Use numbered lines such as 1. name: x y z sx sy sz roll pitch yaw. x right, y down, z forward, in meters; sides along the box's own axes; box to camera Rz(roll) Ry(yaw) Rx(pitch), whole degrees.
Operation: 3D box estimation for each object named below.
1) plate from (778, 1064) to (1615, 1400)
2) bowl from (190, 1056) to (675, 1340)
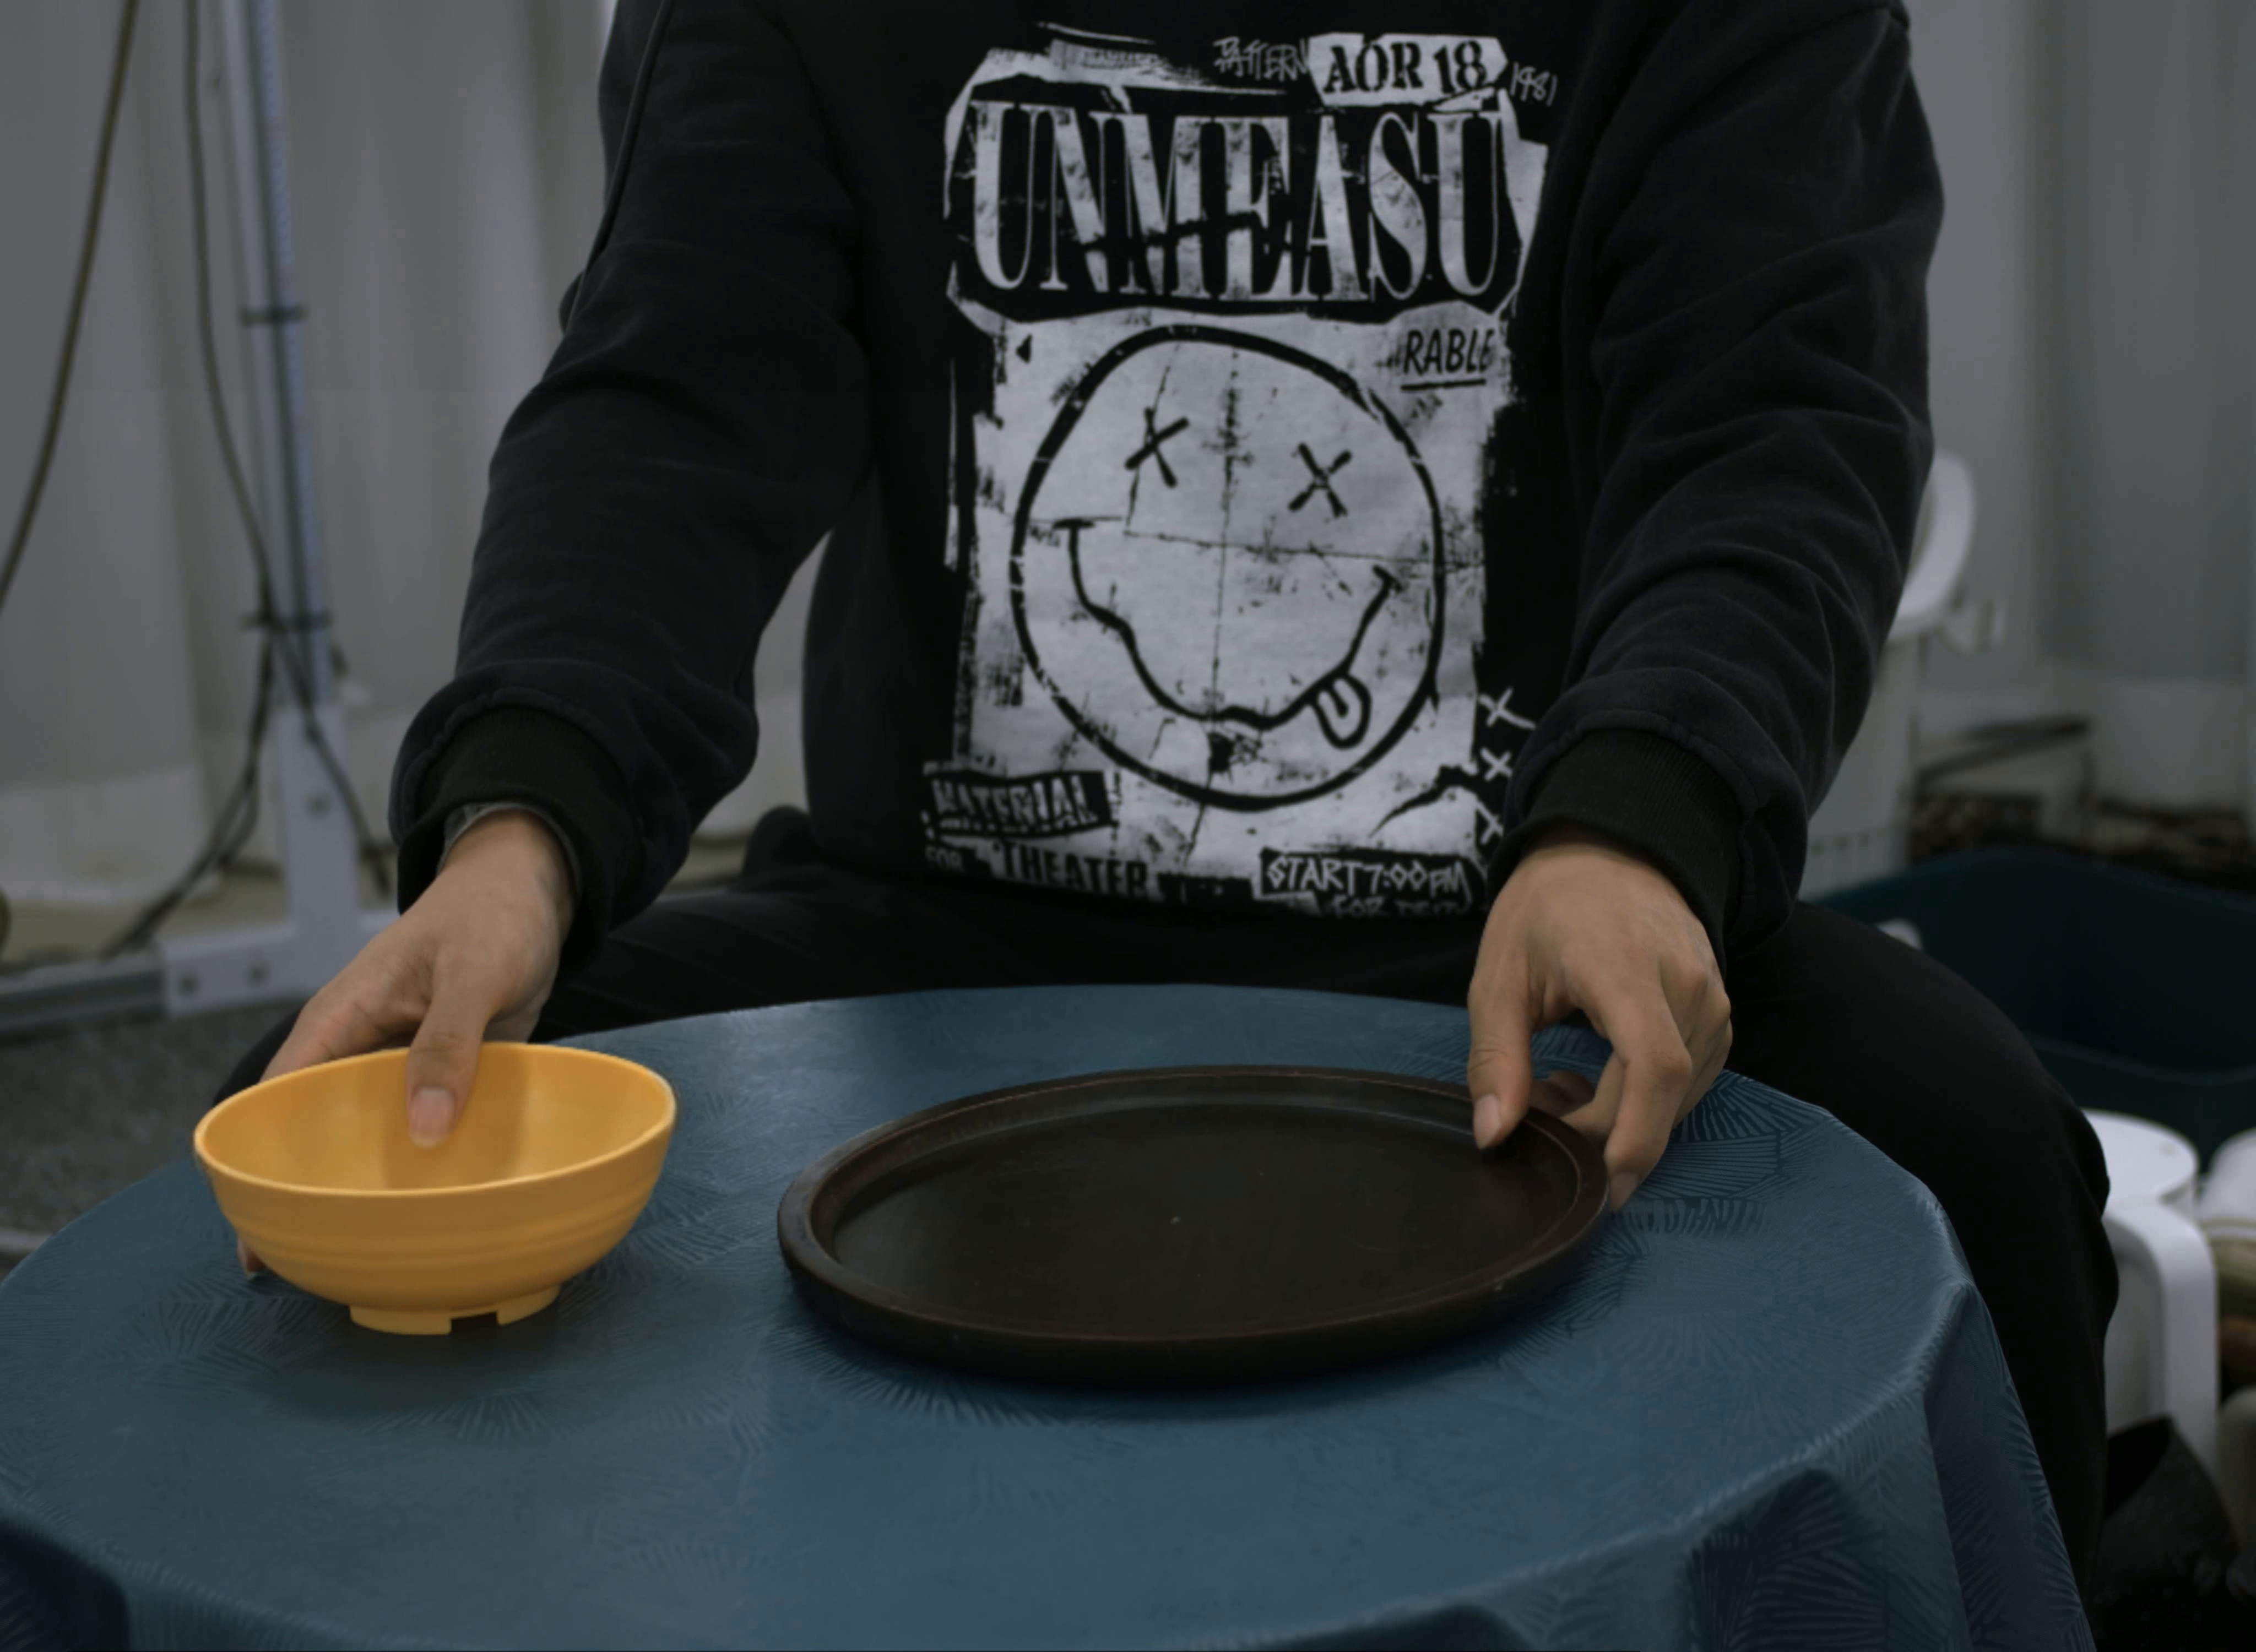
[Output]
1. plate: 0.021 0.120 1.647 0.254 0.029 0.256 -4 14 1
2. bowl: -0.207 0.116 1.642 0.145 0.060 0.146 -1 13 0
